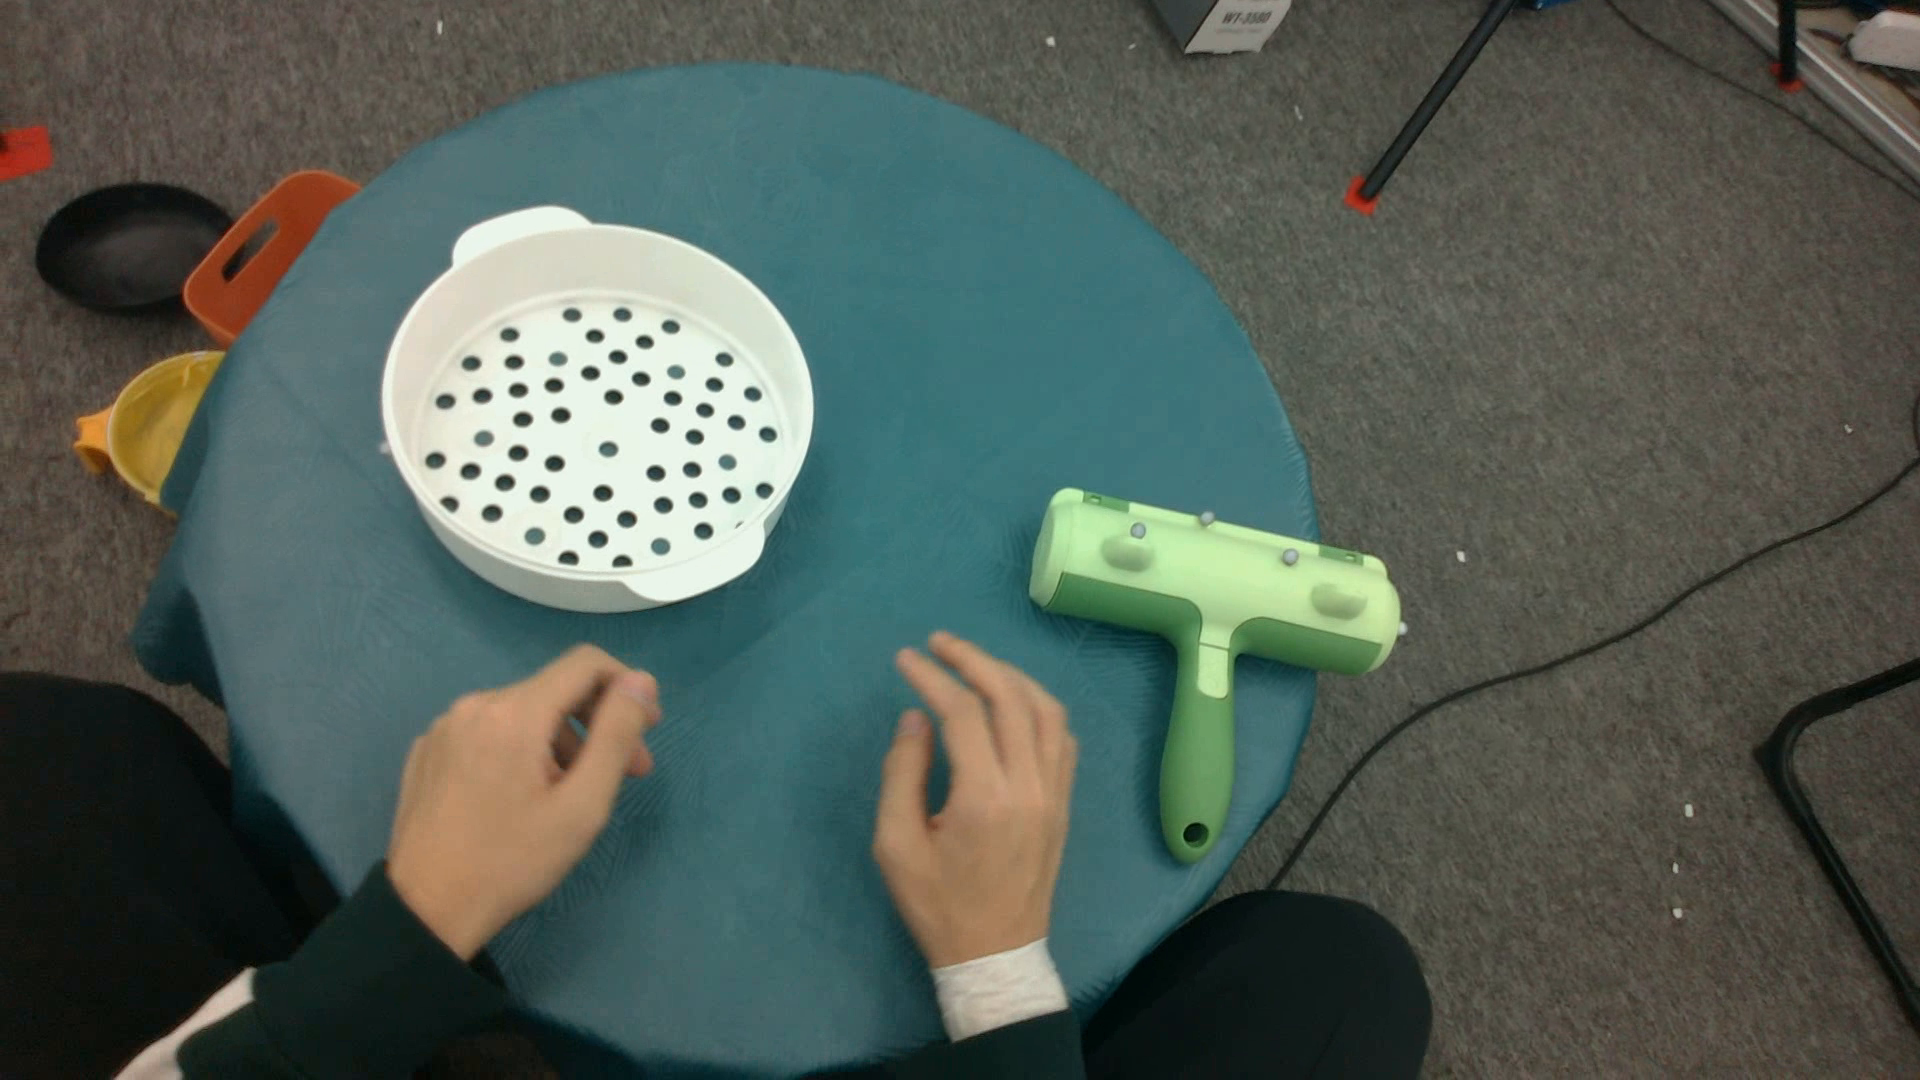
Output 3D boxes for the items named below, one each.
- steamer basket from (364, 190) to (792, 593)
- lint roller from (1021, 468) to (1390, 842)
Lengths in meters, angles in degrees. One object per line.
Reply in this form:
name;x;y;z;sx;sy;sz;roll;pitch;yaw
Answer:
steamer basket;-0.189;-0.070;0.697;0.202;0.069;0.231;-26;72;-24
lint roller;0.129;0.058;0.711;0.199;0.082;0.184;12;59;-9
